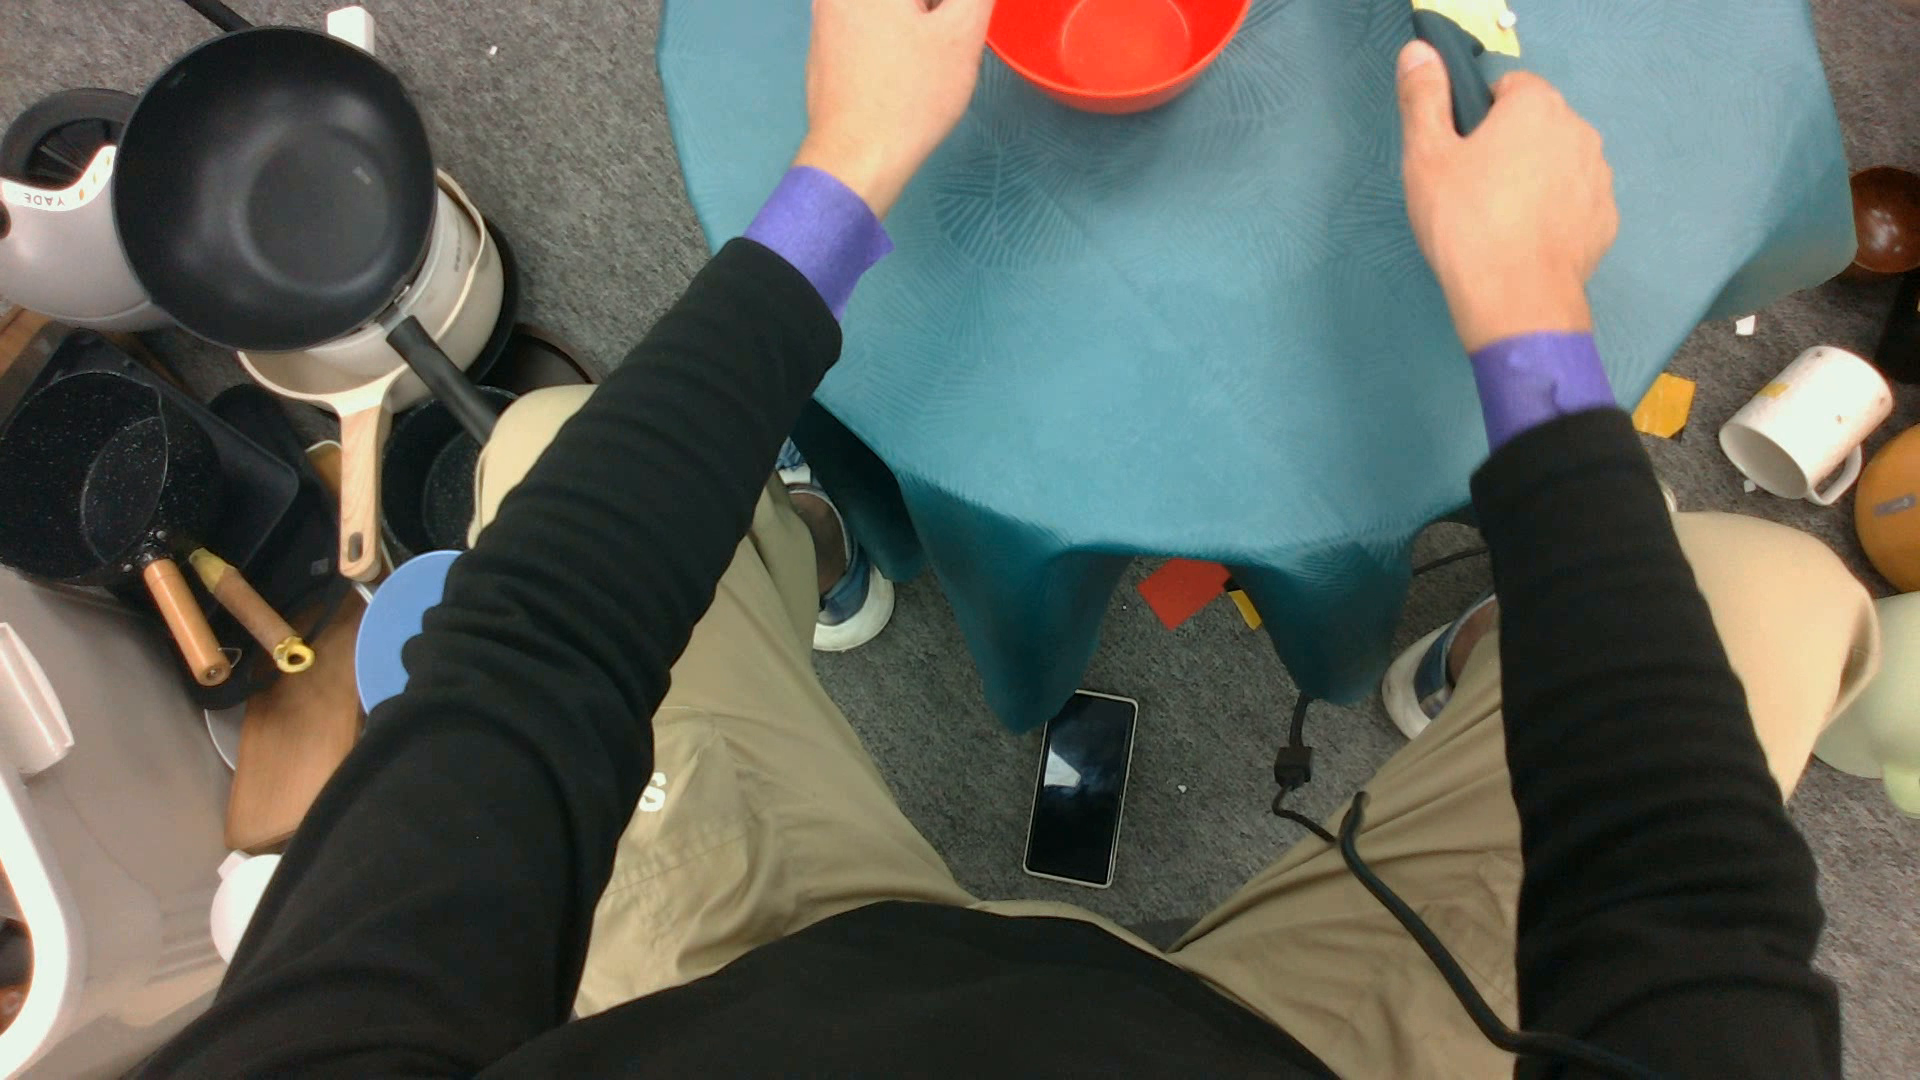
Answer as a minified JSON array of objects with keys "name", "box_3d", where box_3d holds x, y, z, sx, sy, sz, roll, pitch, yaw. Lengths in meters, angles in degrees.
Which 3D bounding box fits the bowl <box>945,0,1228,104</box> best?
[{"name":"bowl","box_3d":[0.064,-0.281,0.690,0.148,0.104,0.148,-1,82,6]}]

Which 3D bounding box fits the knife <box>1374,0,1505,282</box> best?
[{"name":"knife","box_3d":[0.219,-0.262,0.657,0.081,0.027,0.289,-9,83,-33]}]
